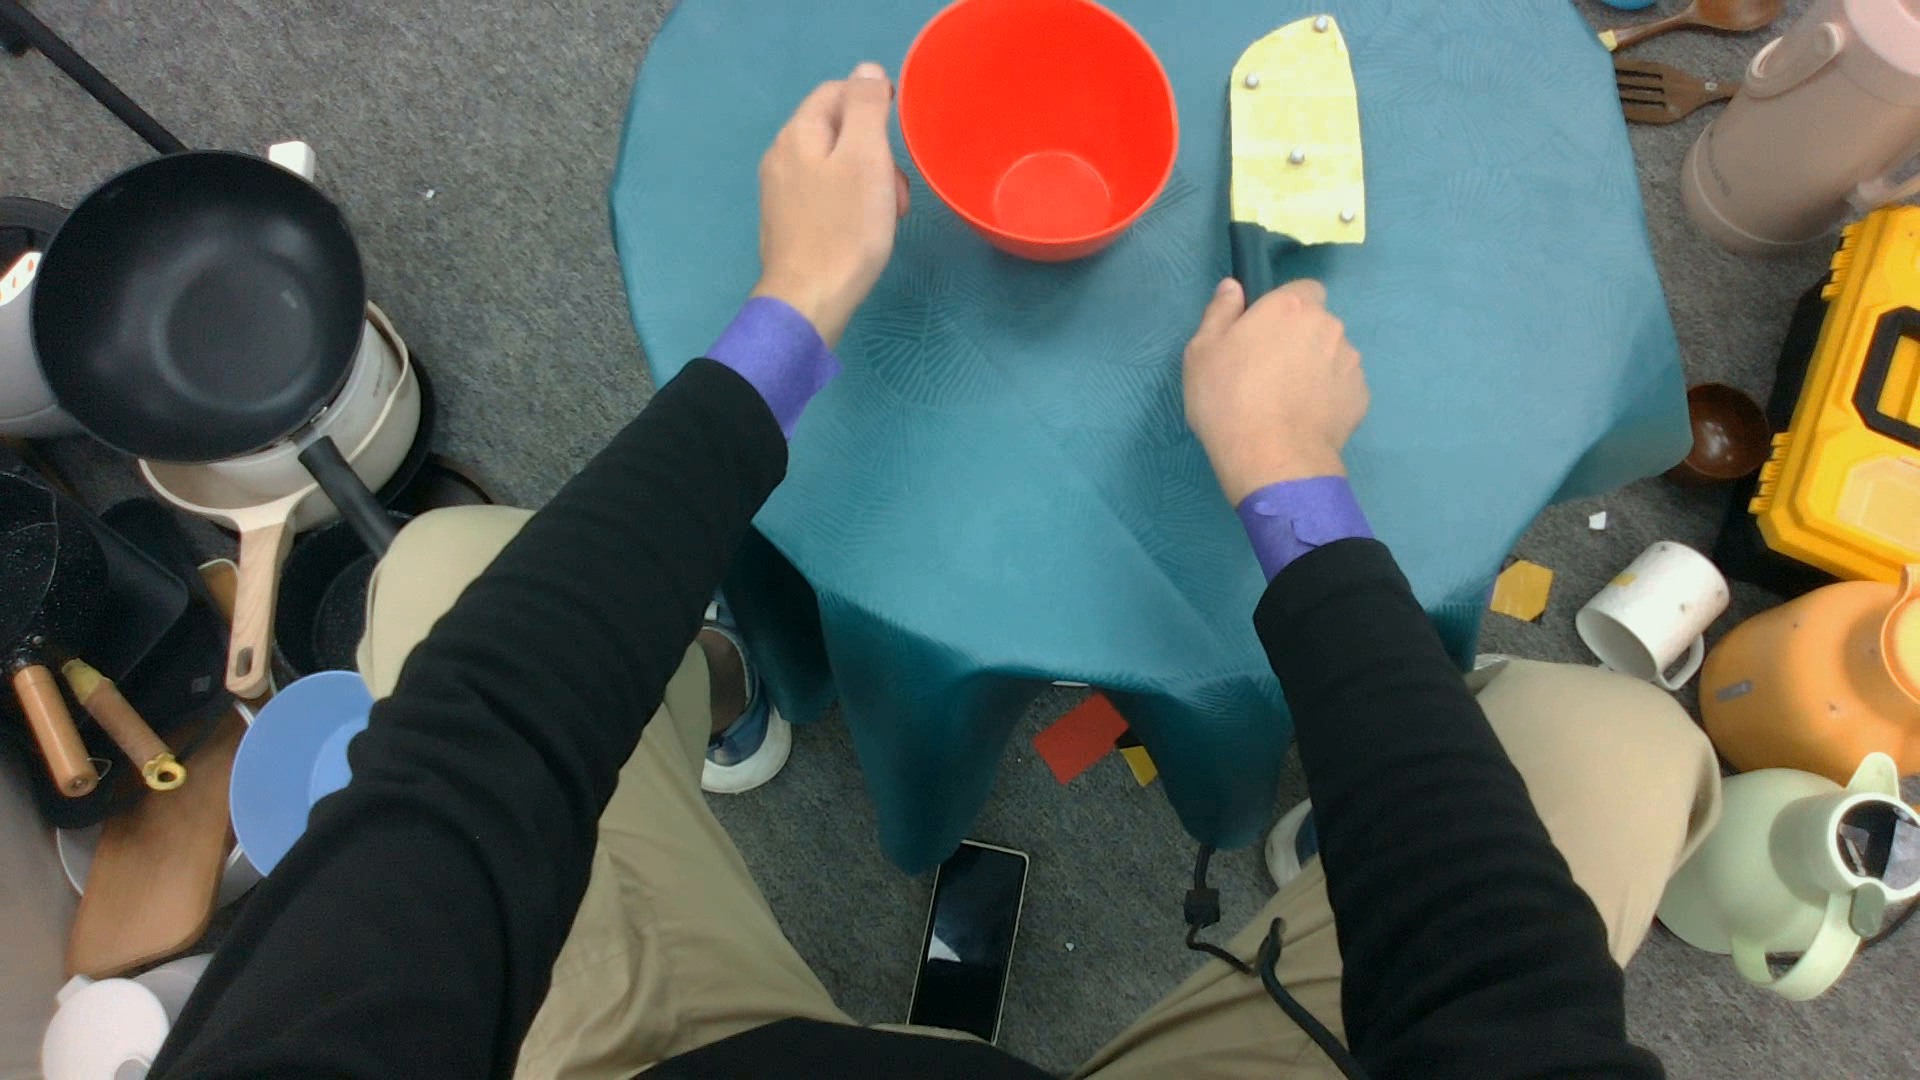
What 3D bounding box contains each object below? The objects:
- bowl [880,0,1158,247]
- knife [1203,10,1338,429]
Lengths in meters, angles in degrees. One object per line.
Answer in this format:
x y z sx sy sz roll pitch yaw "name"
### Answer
0.032 -0.220 0.761 0.148 0.104 0.148 0 72 -1 "bowl"
0.175 -0.192 0.786 0.081 0.027 0.290 5 67 6 "knife"
